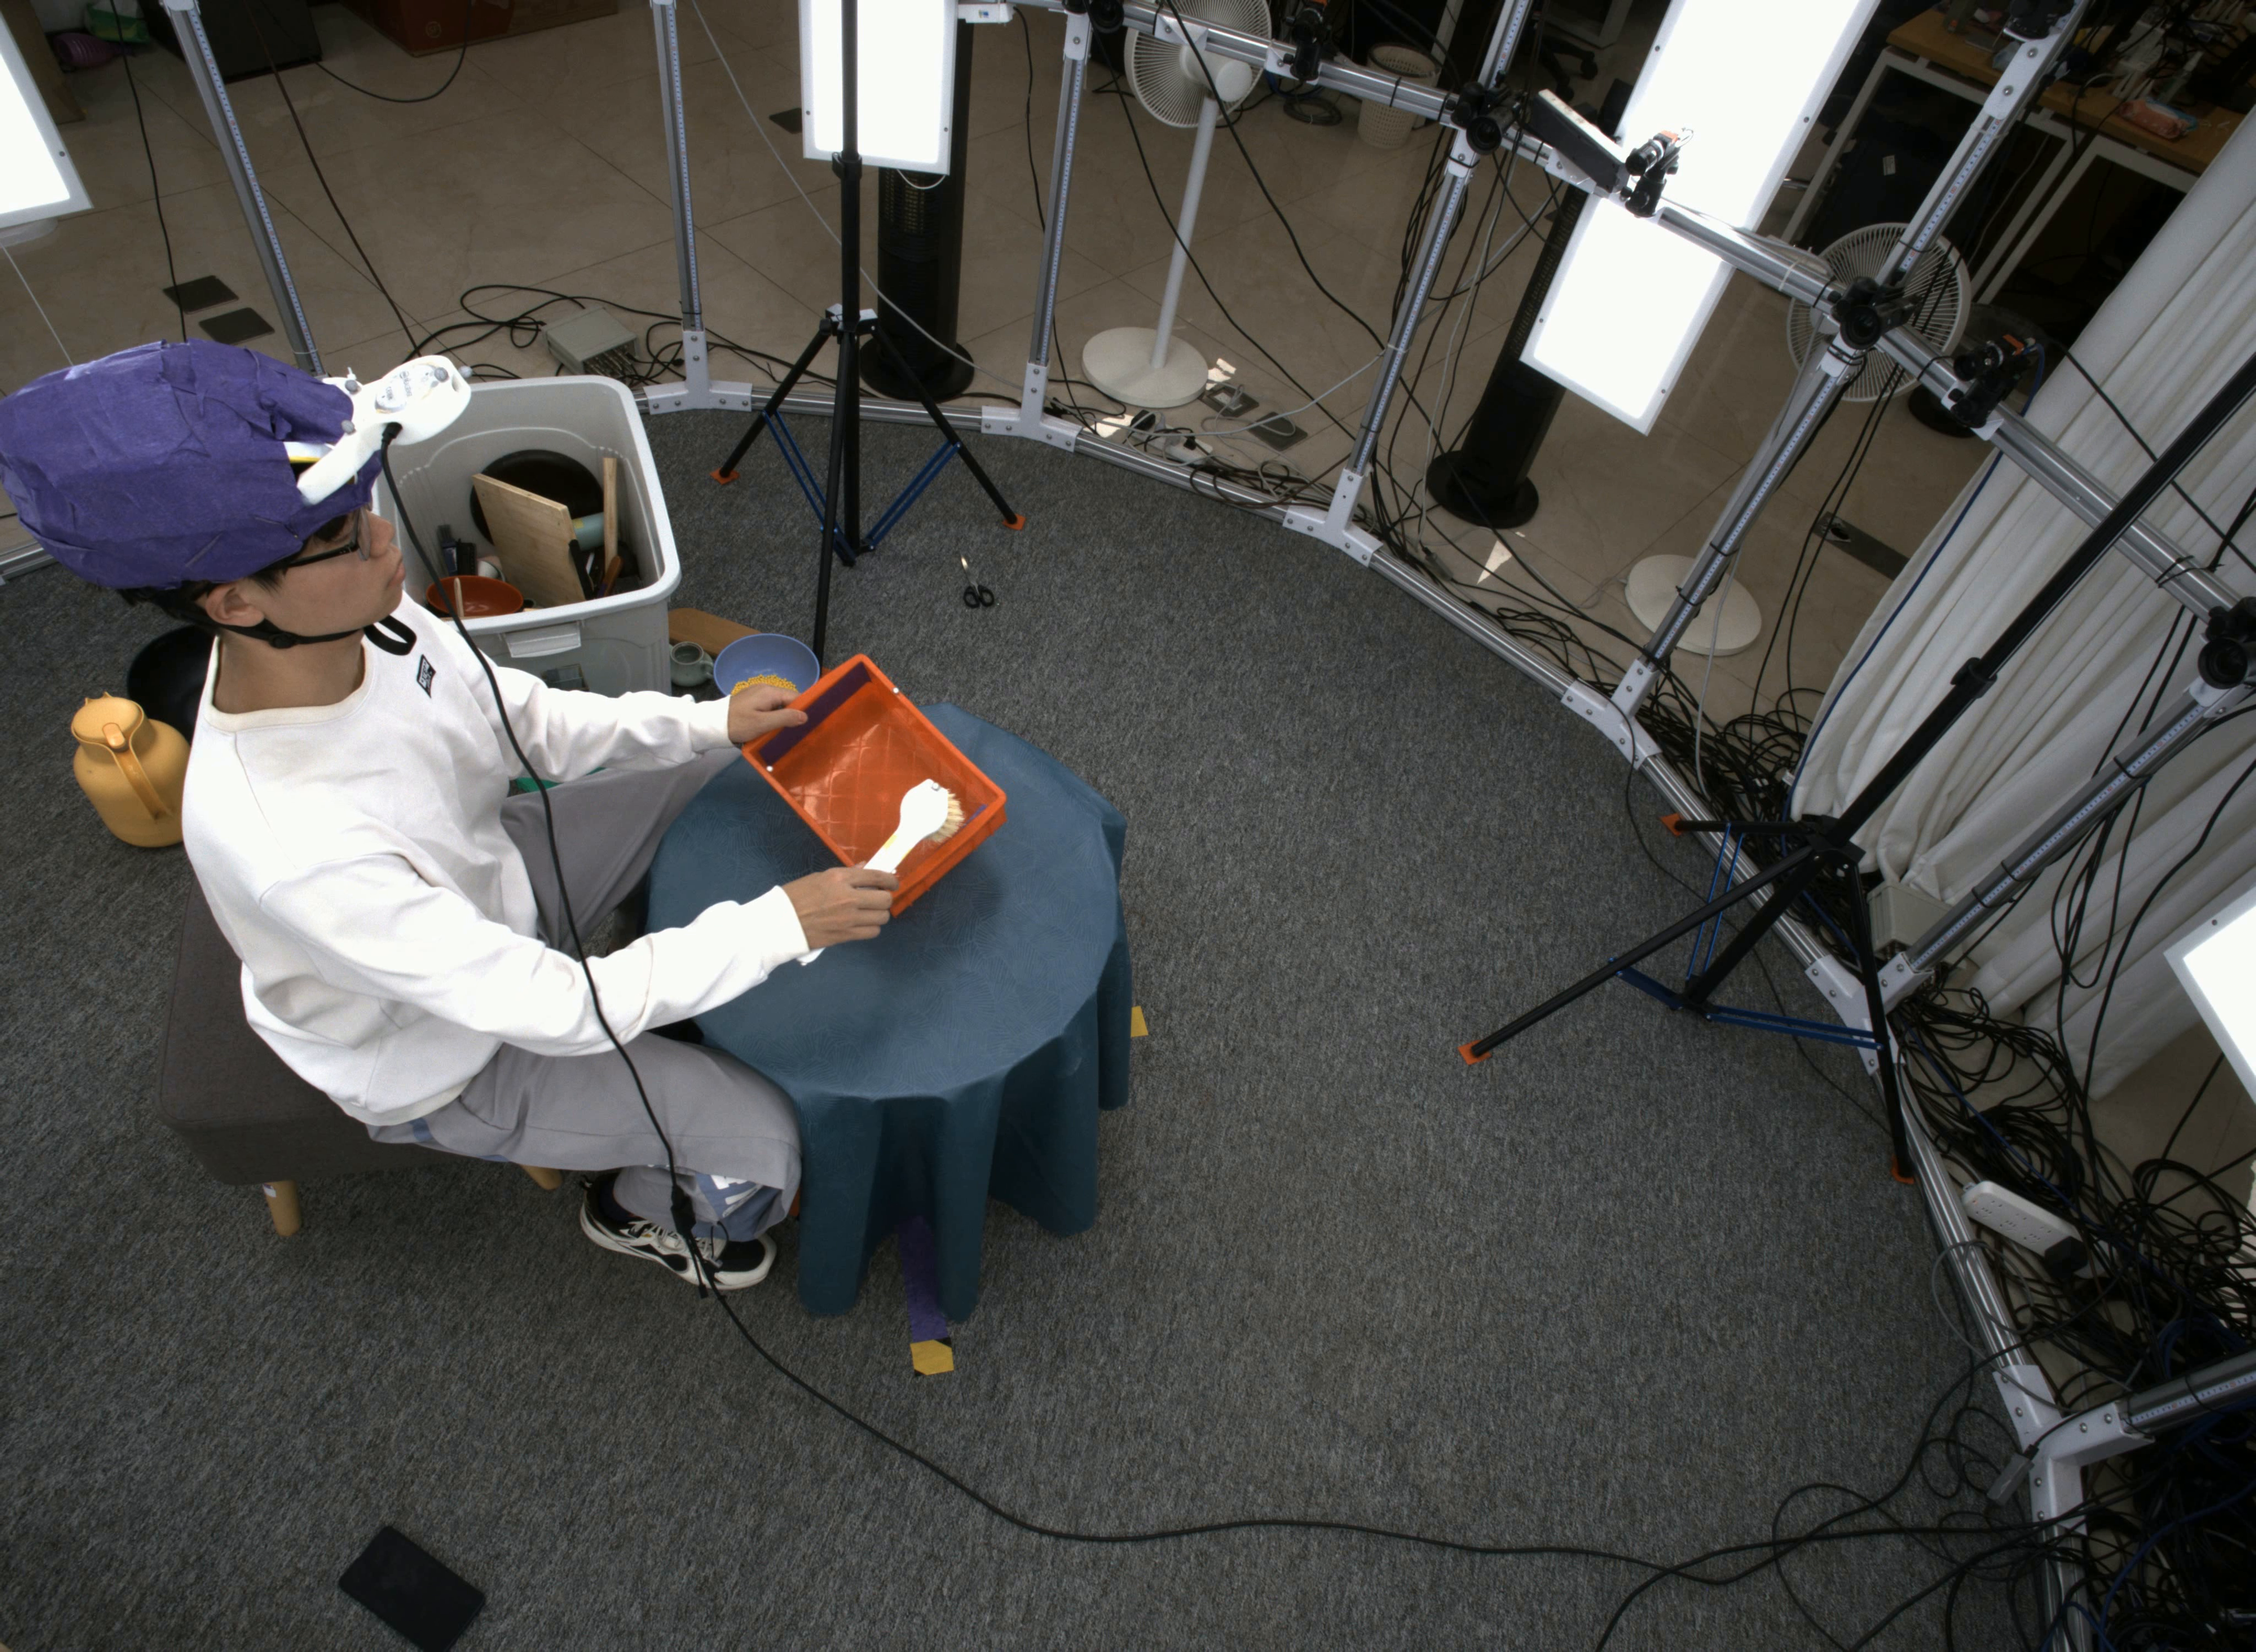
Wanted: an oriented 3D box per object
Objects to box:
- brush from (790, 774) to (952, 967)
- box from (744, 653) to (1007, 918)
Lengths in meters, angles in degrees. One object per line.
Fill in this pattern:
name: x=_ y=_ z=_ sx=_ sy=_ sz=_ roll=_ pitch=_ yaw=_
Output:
brush: x=-0.300 y=0.057 z=1.517 sx=0.066 sy=0.058 sz=0.267 roll=29 pitch=81 yaw=30
box: x=-0.319 y=-0.049 z=1.681 sx=0.206 sy=0.098 sz=0.297 roll=-42 pitch=74 yaw=-14
